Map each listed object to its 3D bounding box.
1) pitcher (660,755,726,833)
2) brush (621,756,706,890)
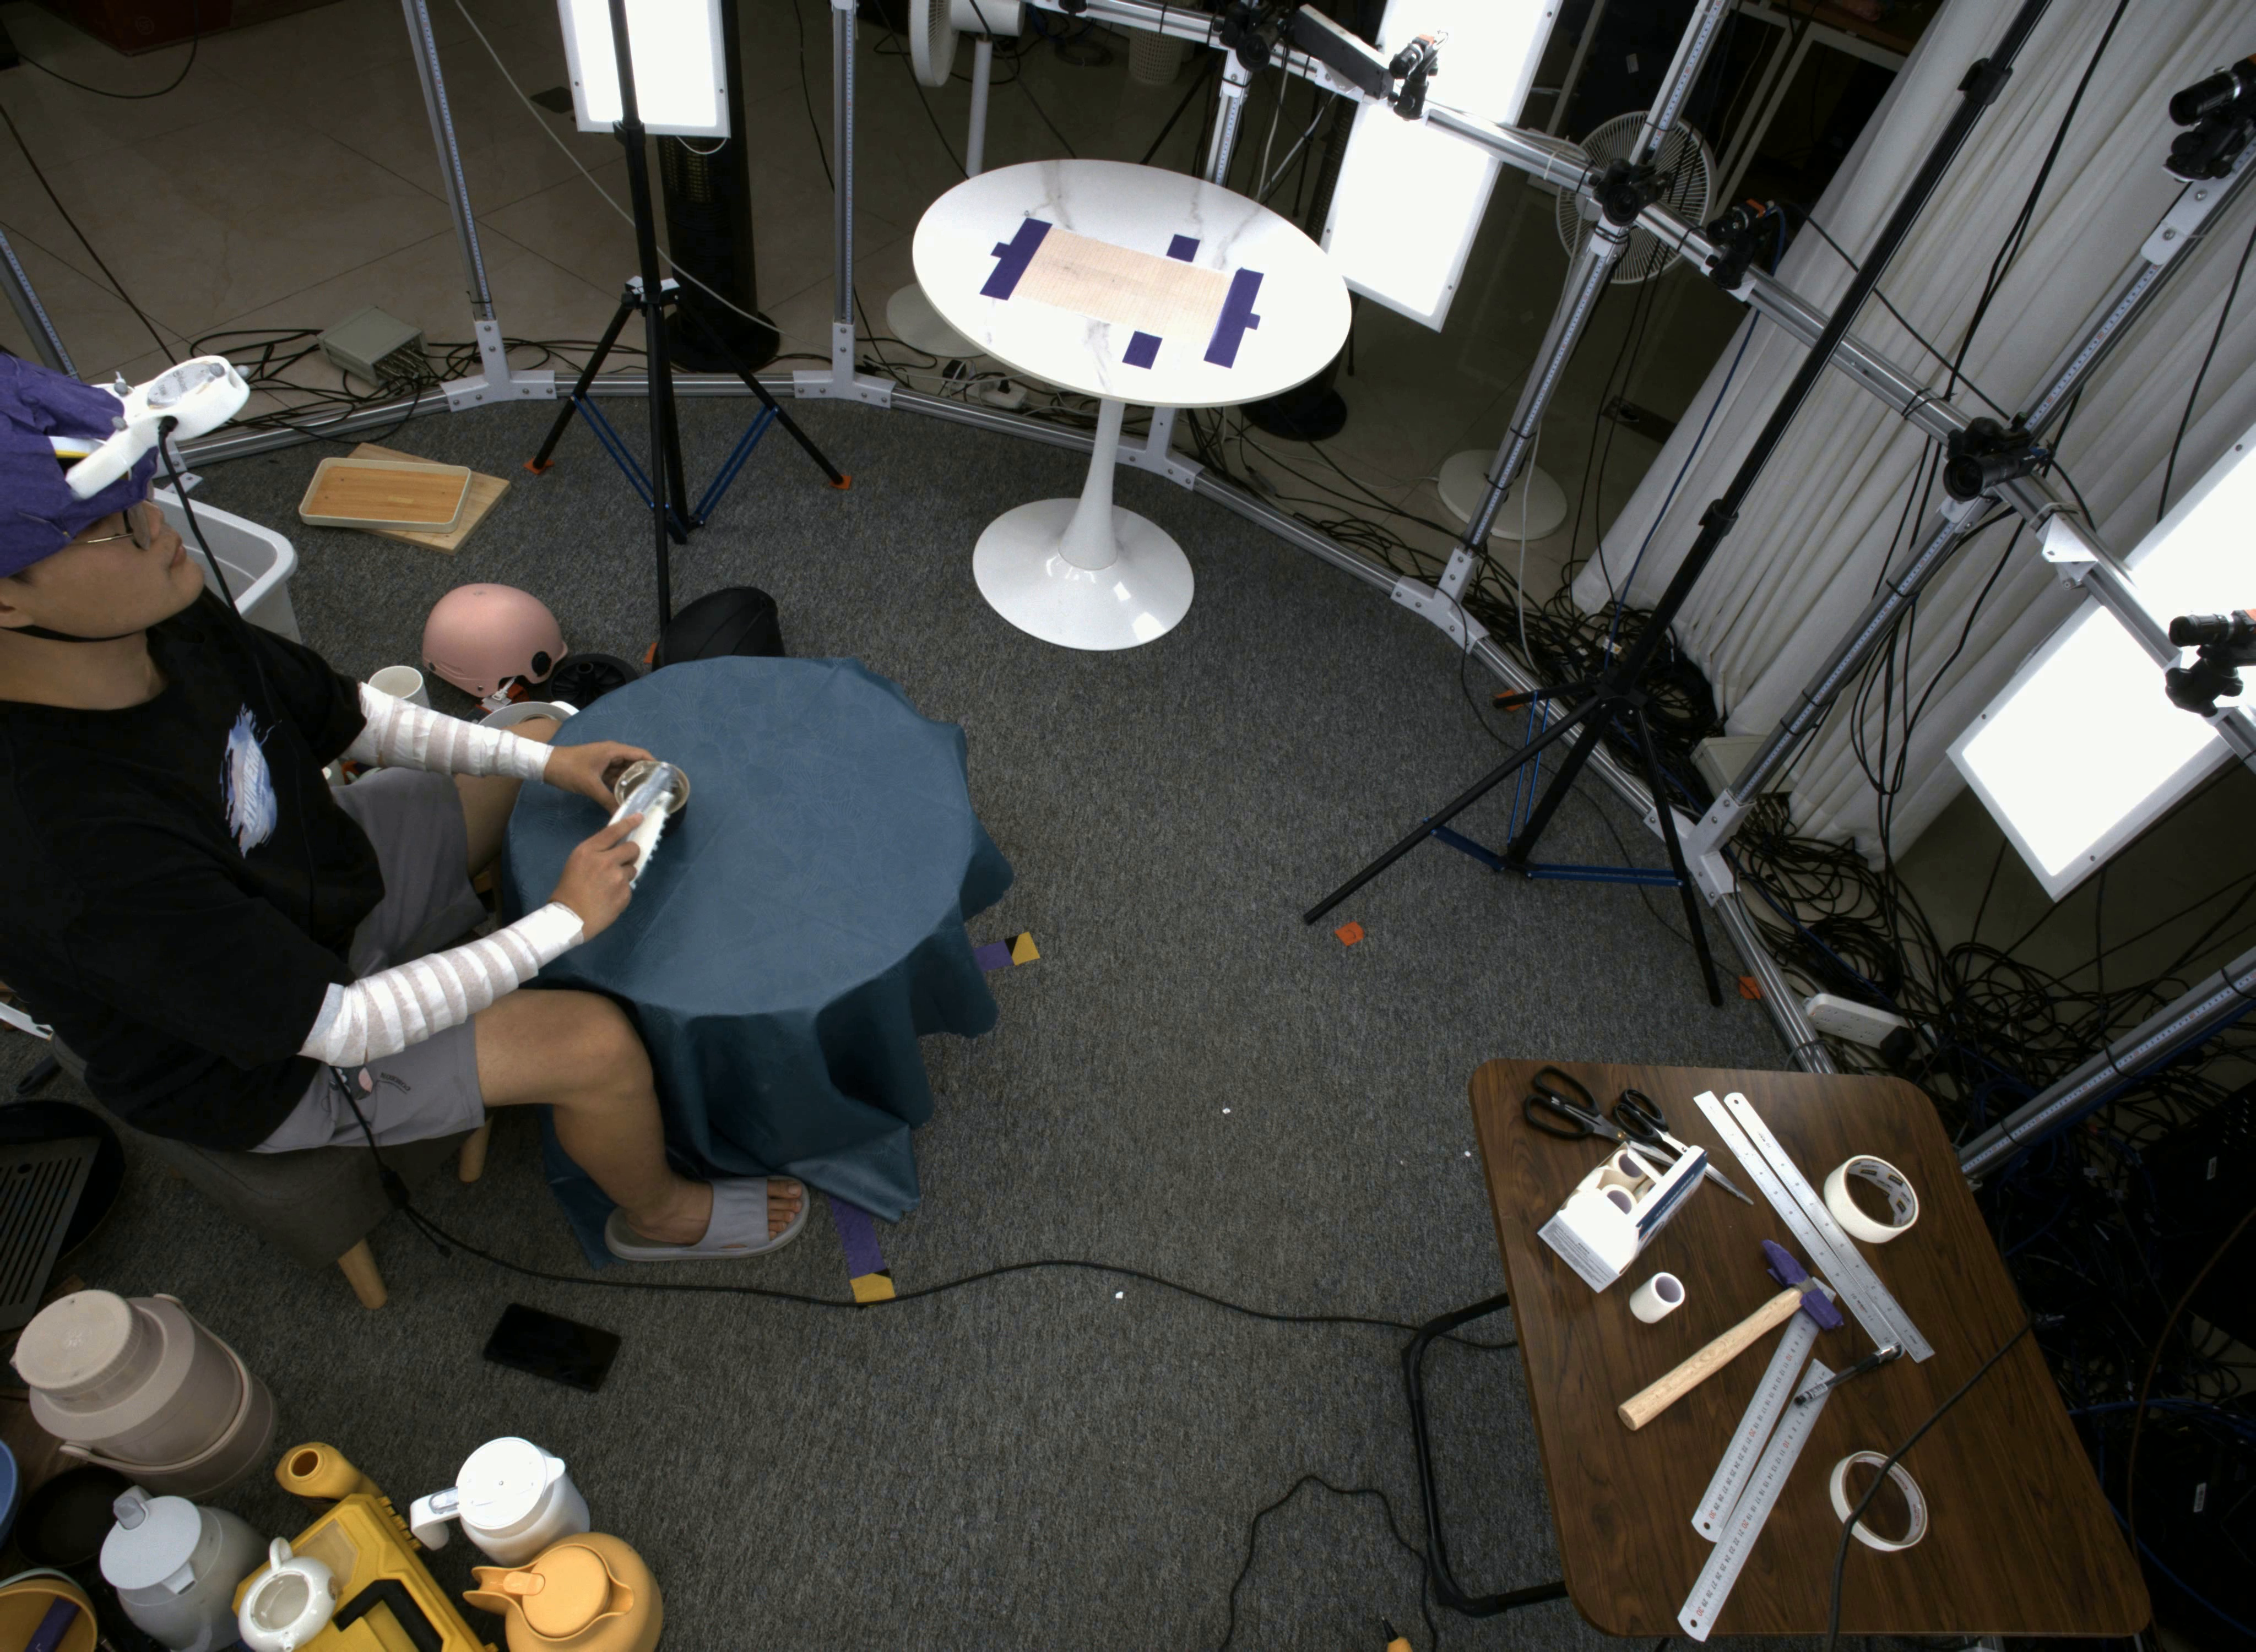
[{"bbox_3d":[-0.567,-0.038,1.680,0.084,0.073,0.093,-23,59,-25],"label":"pitcher"},{"bbox_3d":[-0.565,-0.016,1.579,0.062,0.093,0.175,27,75,-10],"label":"brush"}]
